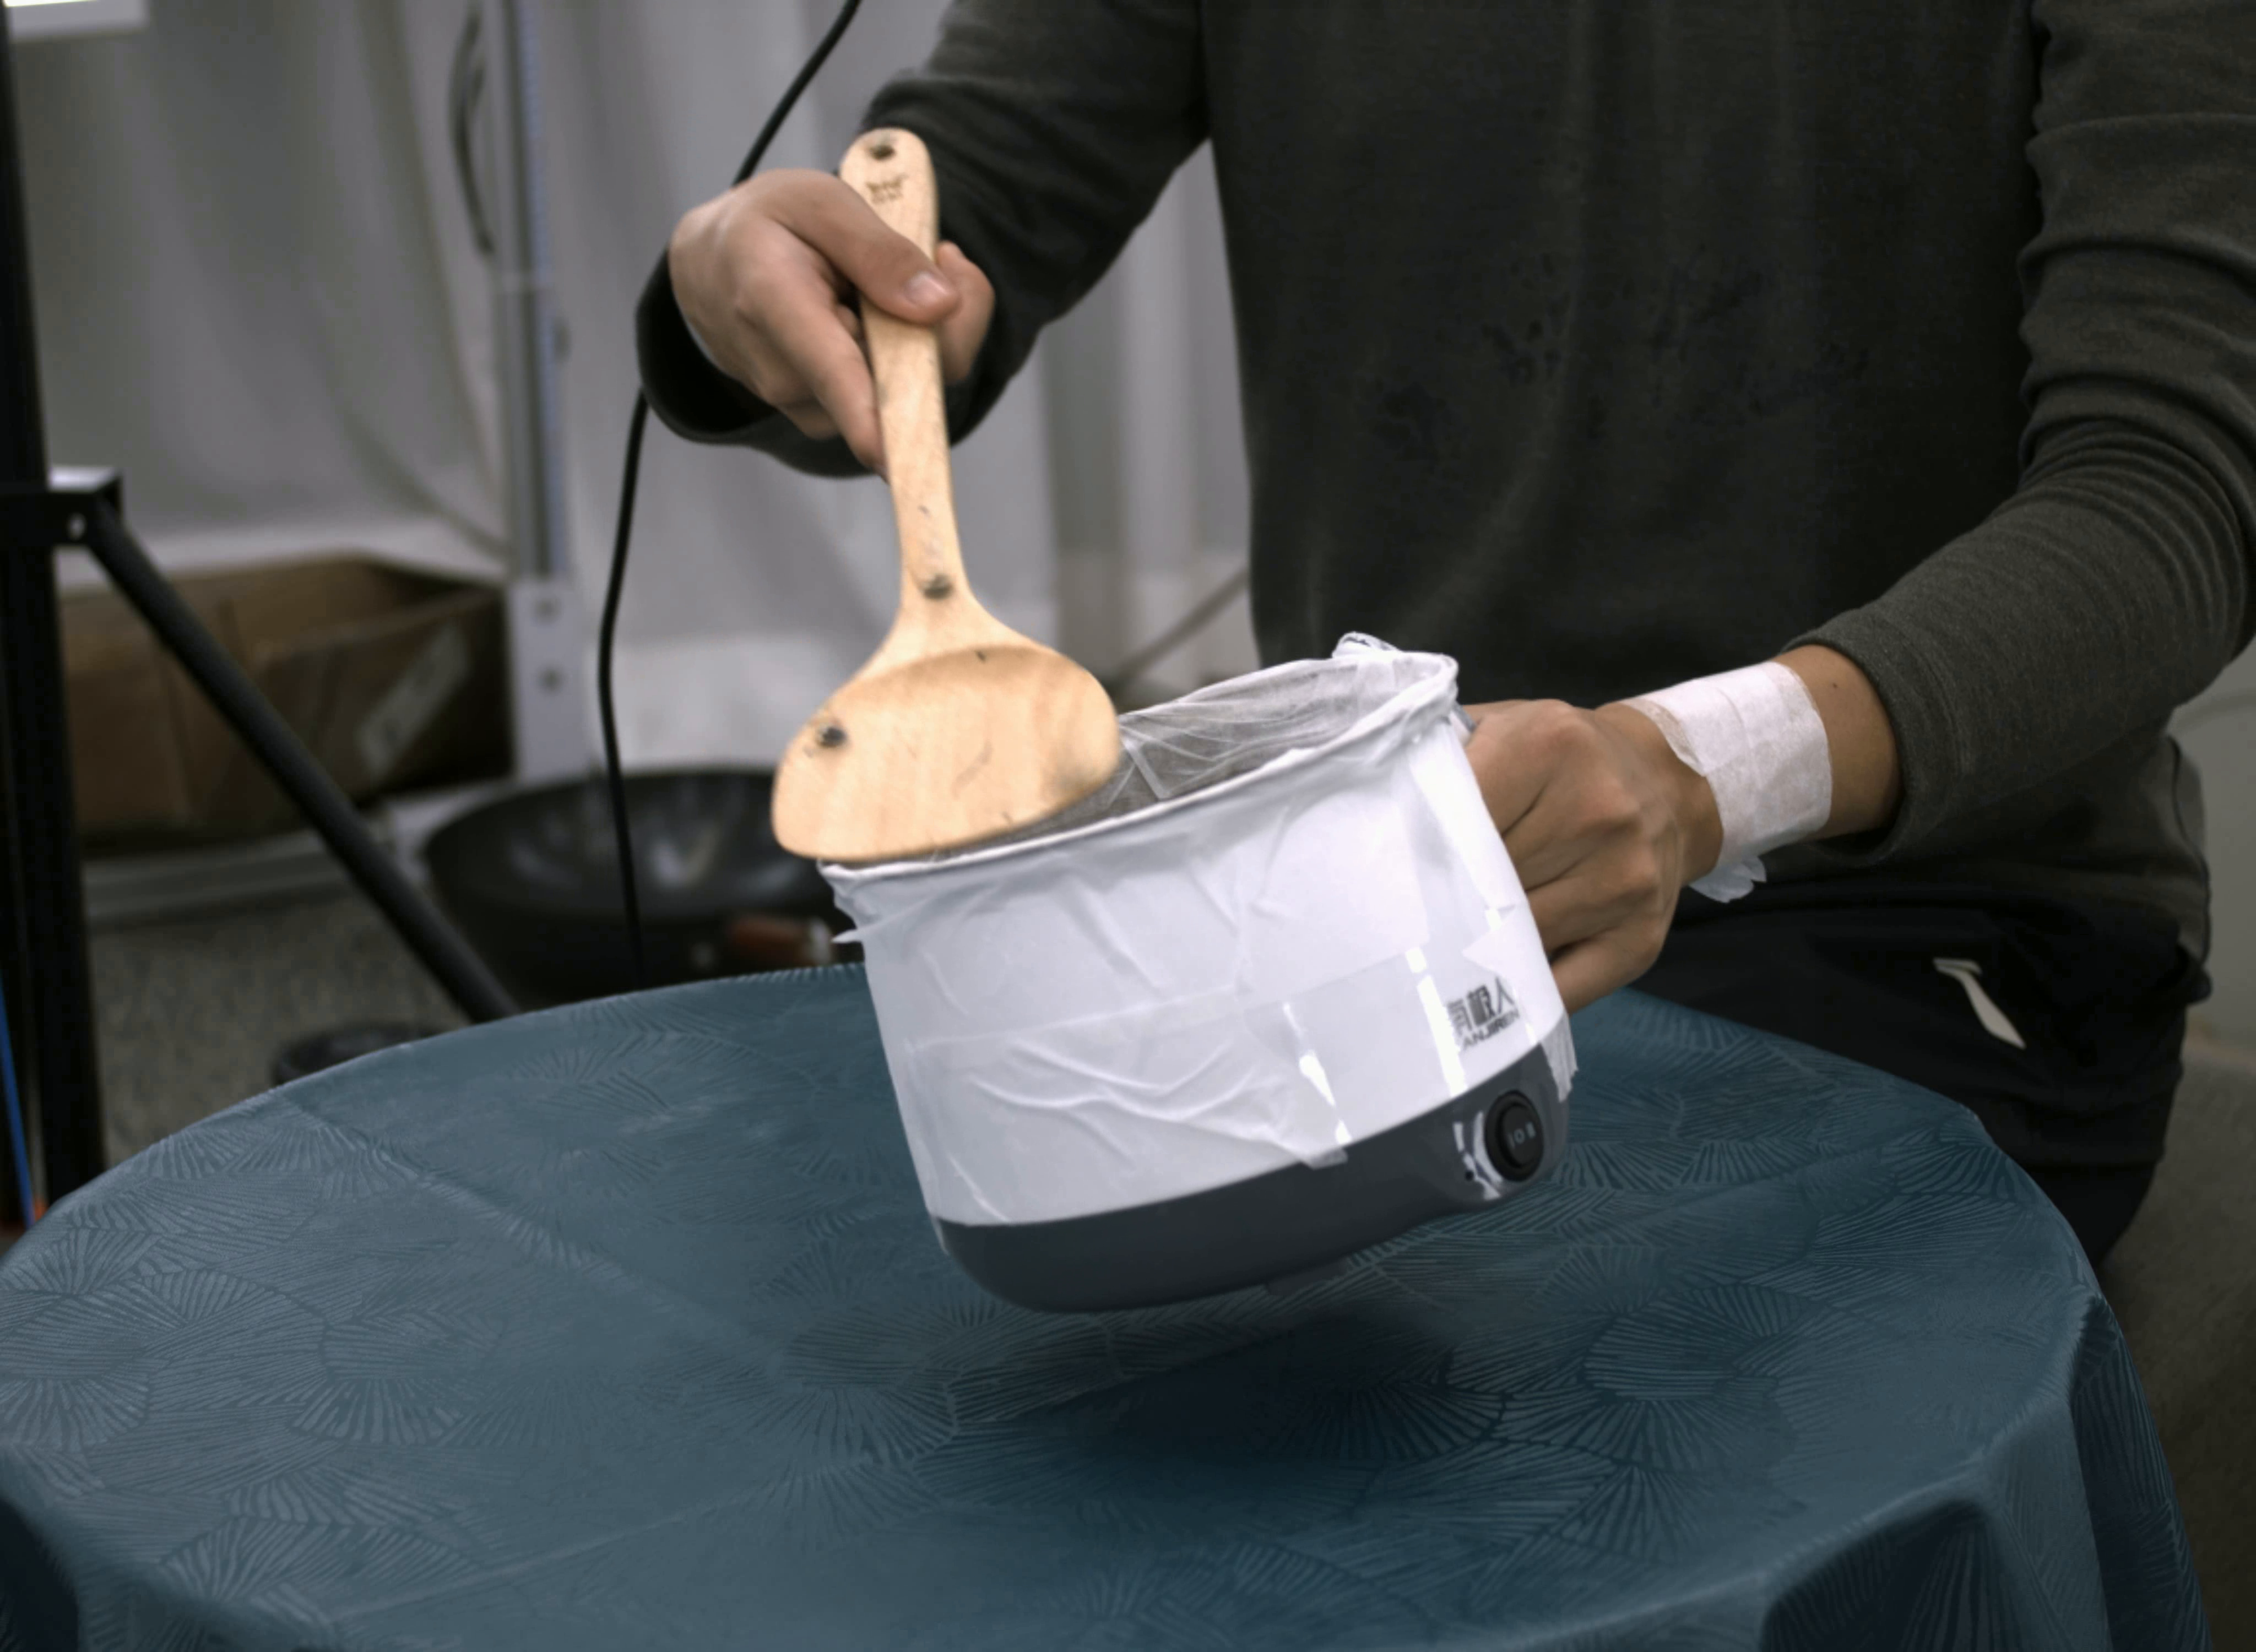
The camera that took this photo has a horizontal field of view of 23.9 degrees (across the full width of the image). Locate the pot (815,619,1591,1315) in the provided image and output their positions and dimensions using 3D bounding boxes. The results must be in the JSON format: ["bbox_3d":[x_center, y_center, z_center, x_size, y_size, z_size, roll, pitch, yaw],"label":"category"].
[{"bbox_3d":[0.038,0.032,1.414,0.182,0.136,0.229,-9,13,42],"label":"pot"}]

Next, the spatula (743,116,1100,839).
[{"bbox_3d":[-0.068,-0.109,1.531,0.095,0.018,0.395,-12,36,2],"label":"spatula"}]
